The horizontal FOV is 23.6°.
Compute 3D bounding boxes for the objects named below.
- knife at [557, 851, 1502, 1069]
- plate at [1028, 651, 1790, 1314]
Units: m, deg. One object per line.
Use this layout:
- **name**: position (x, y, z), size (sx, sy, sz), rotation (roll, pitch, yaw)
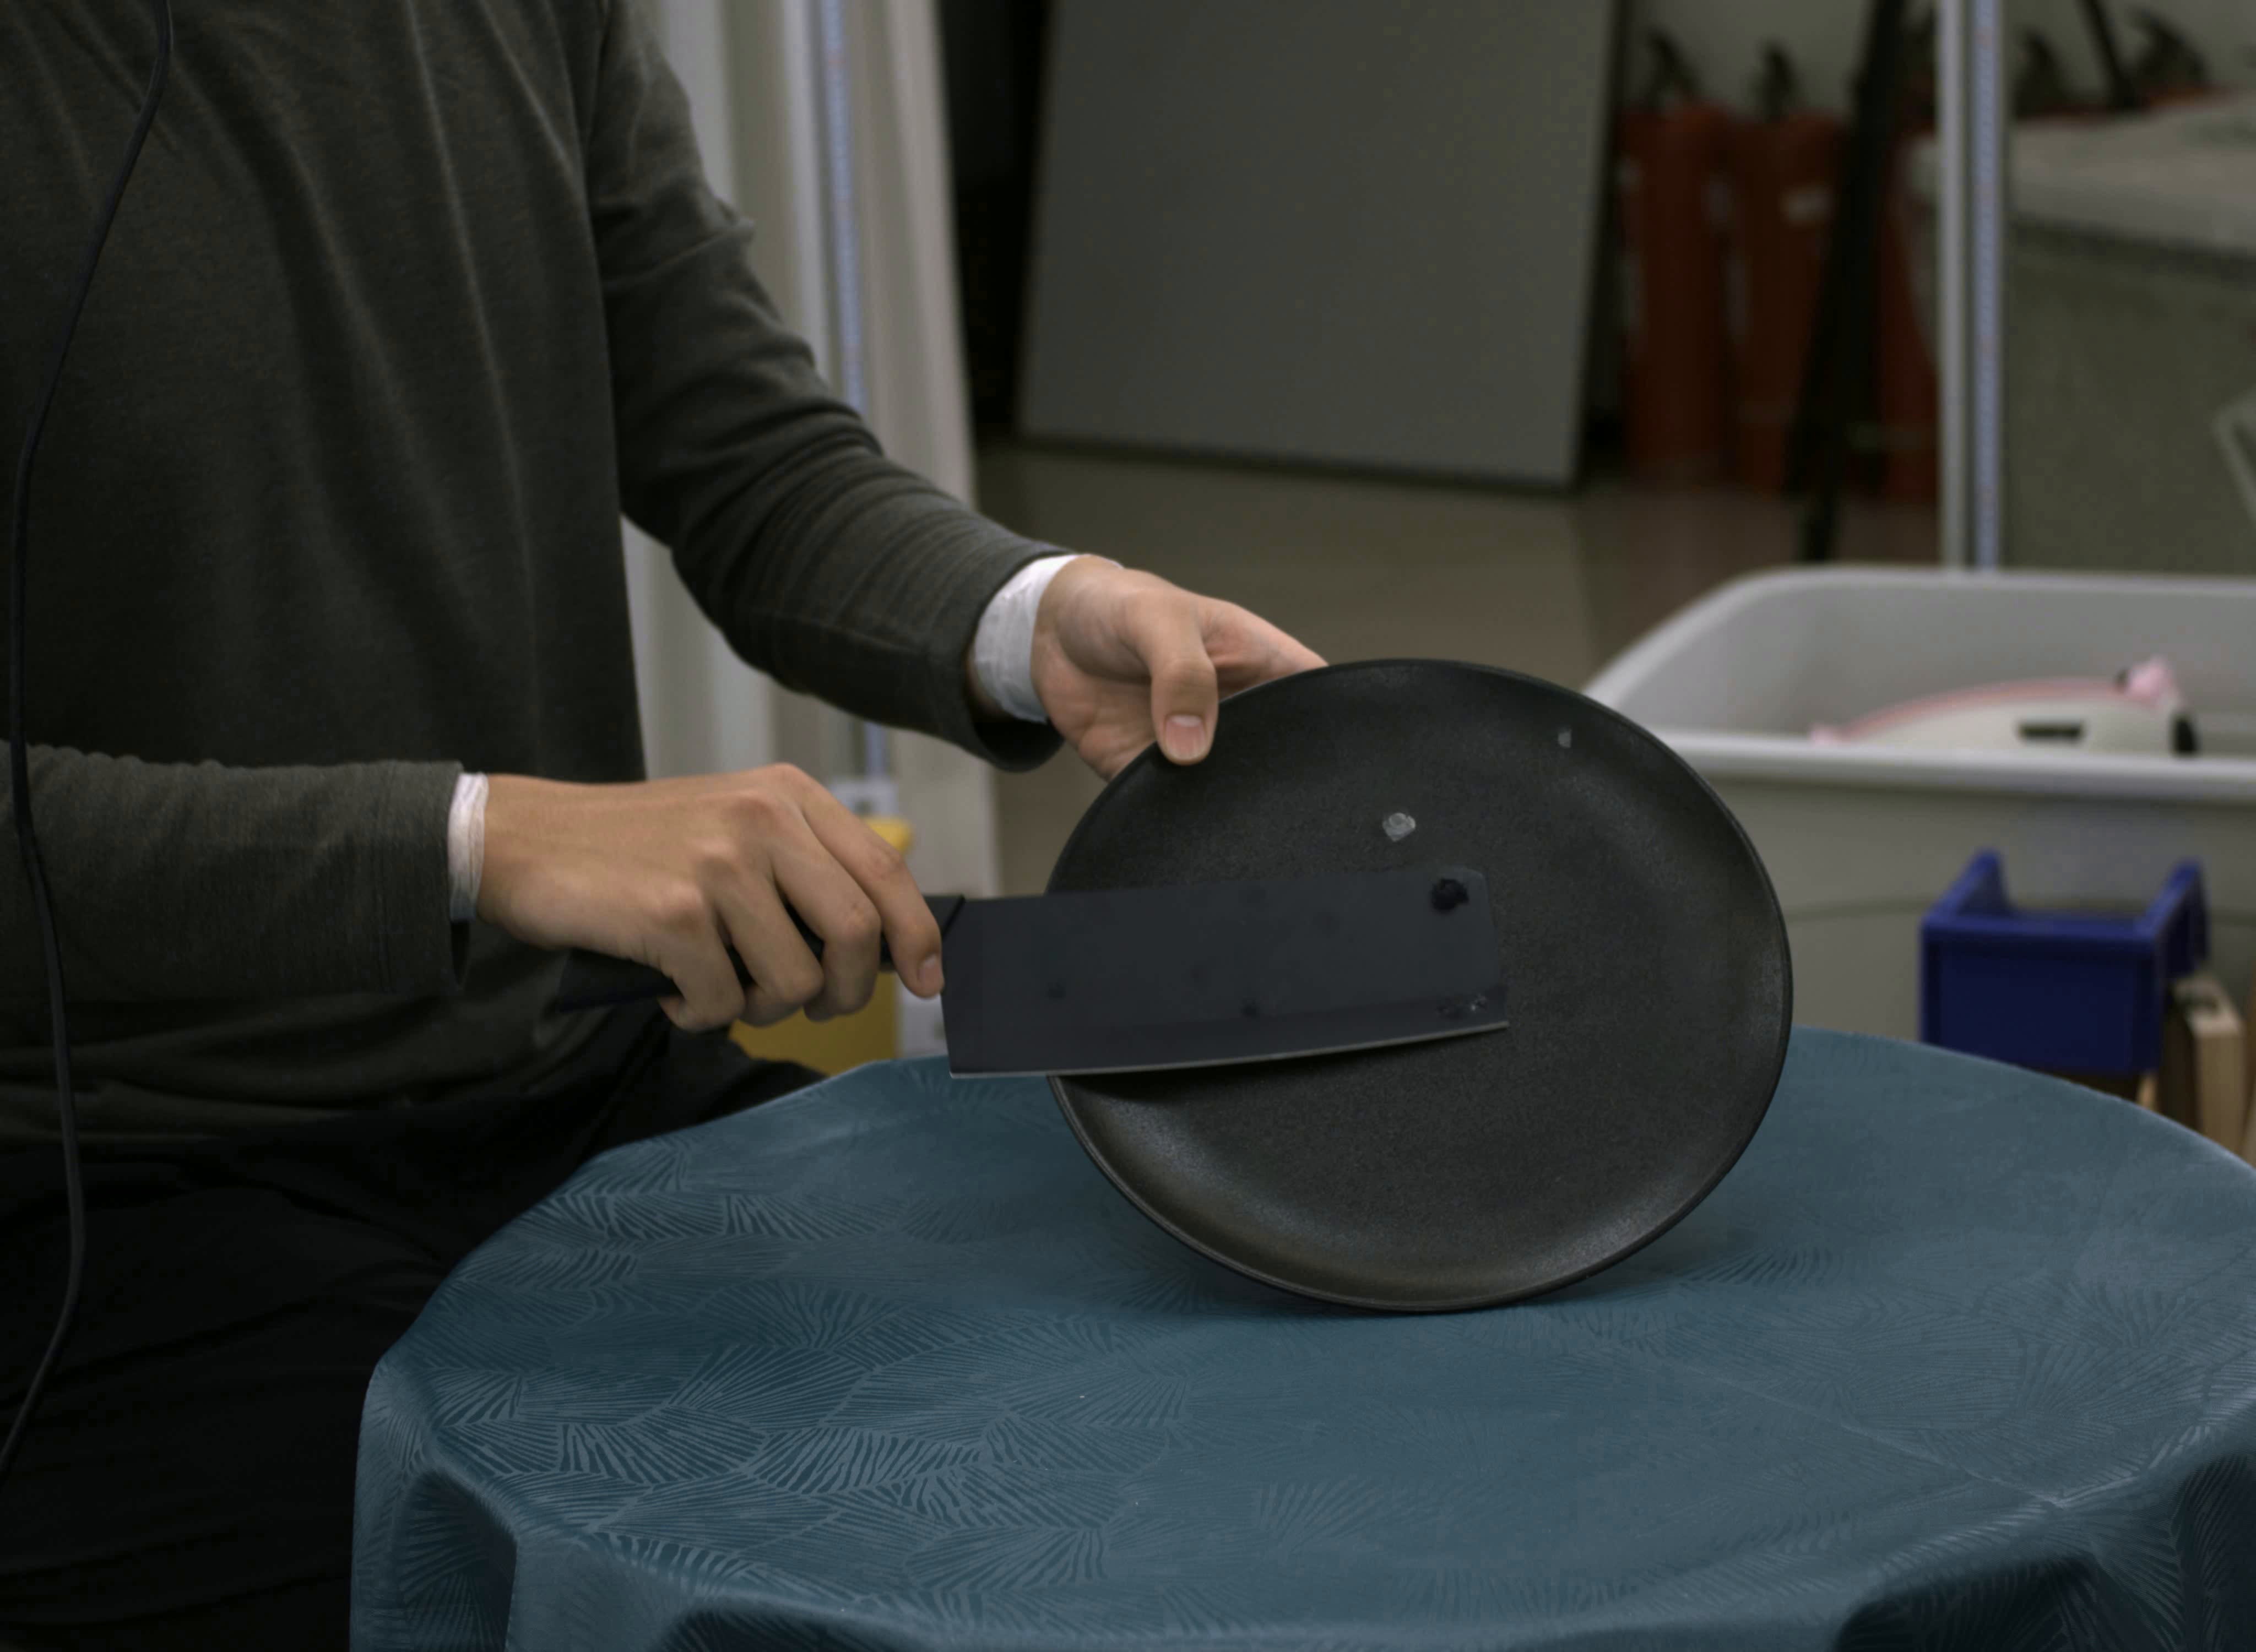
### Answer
- **knife**: position (-0.031, 0.043, 1.709), size (0.298, 0.021, 0.082), rotation (-1, 56, -2)
- **plate**: position (0.089, 0.051, 1.708), size (0.241, 0.023, 0.247), rotation (-2, 57, 2)
